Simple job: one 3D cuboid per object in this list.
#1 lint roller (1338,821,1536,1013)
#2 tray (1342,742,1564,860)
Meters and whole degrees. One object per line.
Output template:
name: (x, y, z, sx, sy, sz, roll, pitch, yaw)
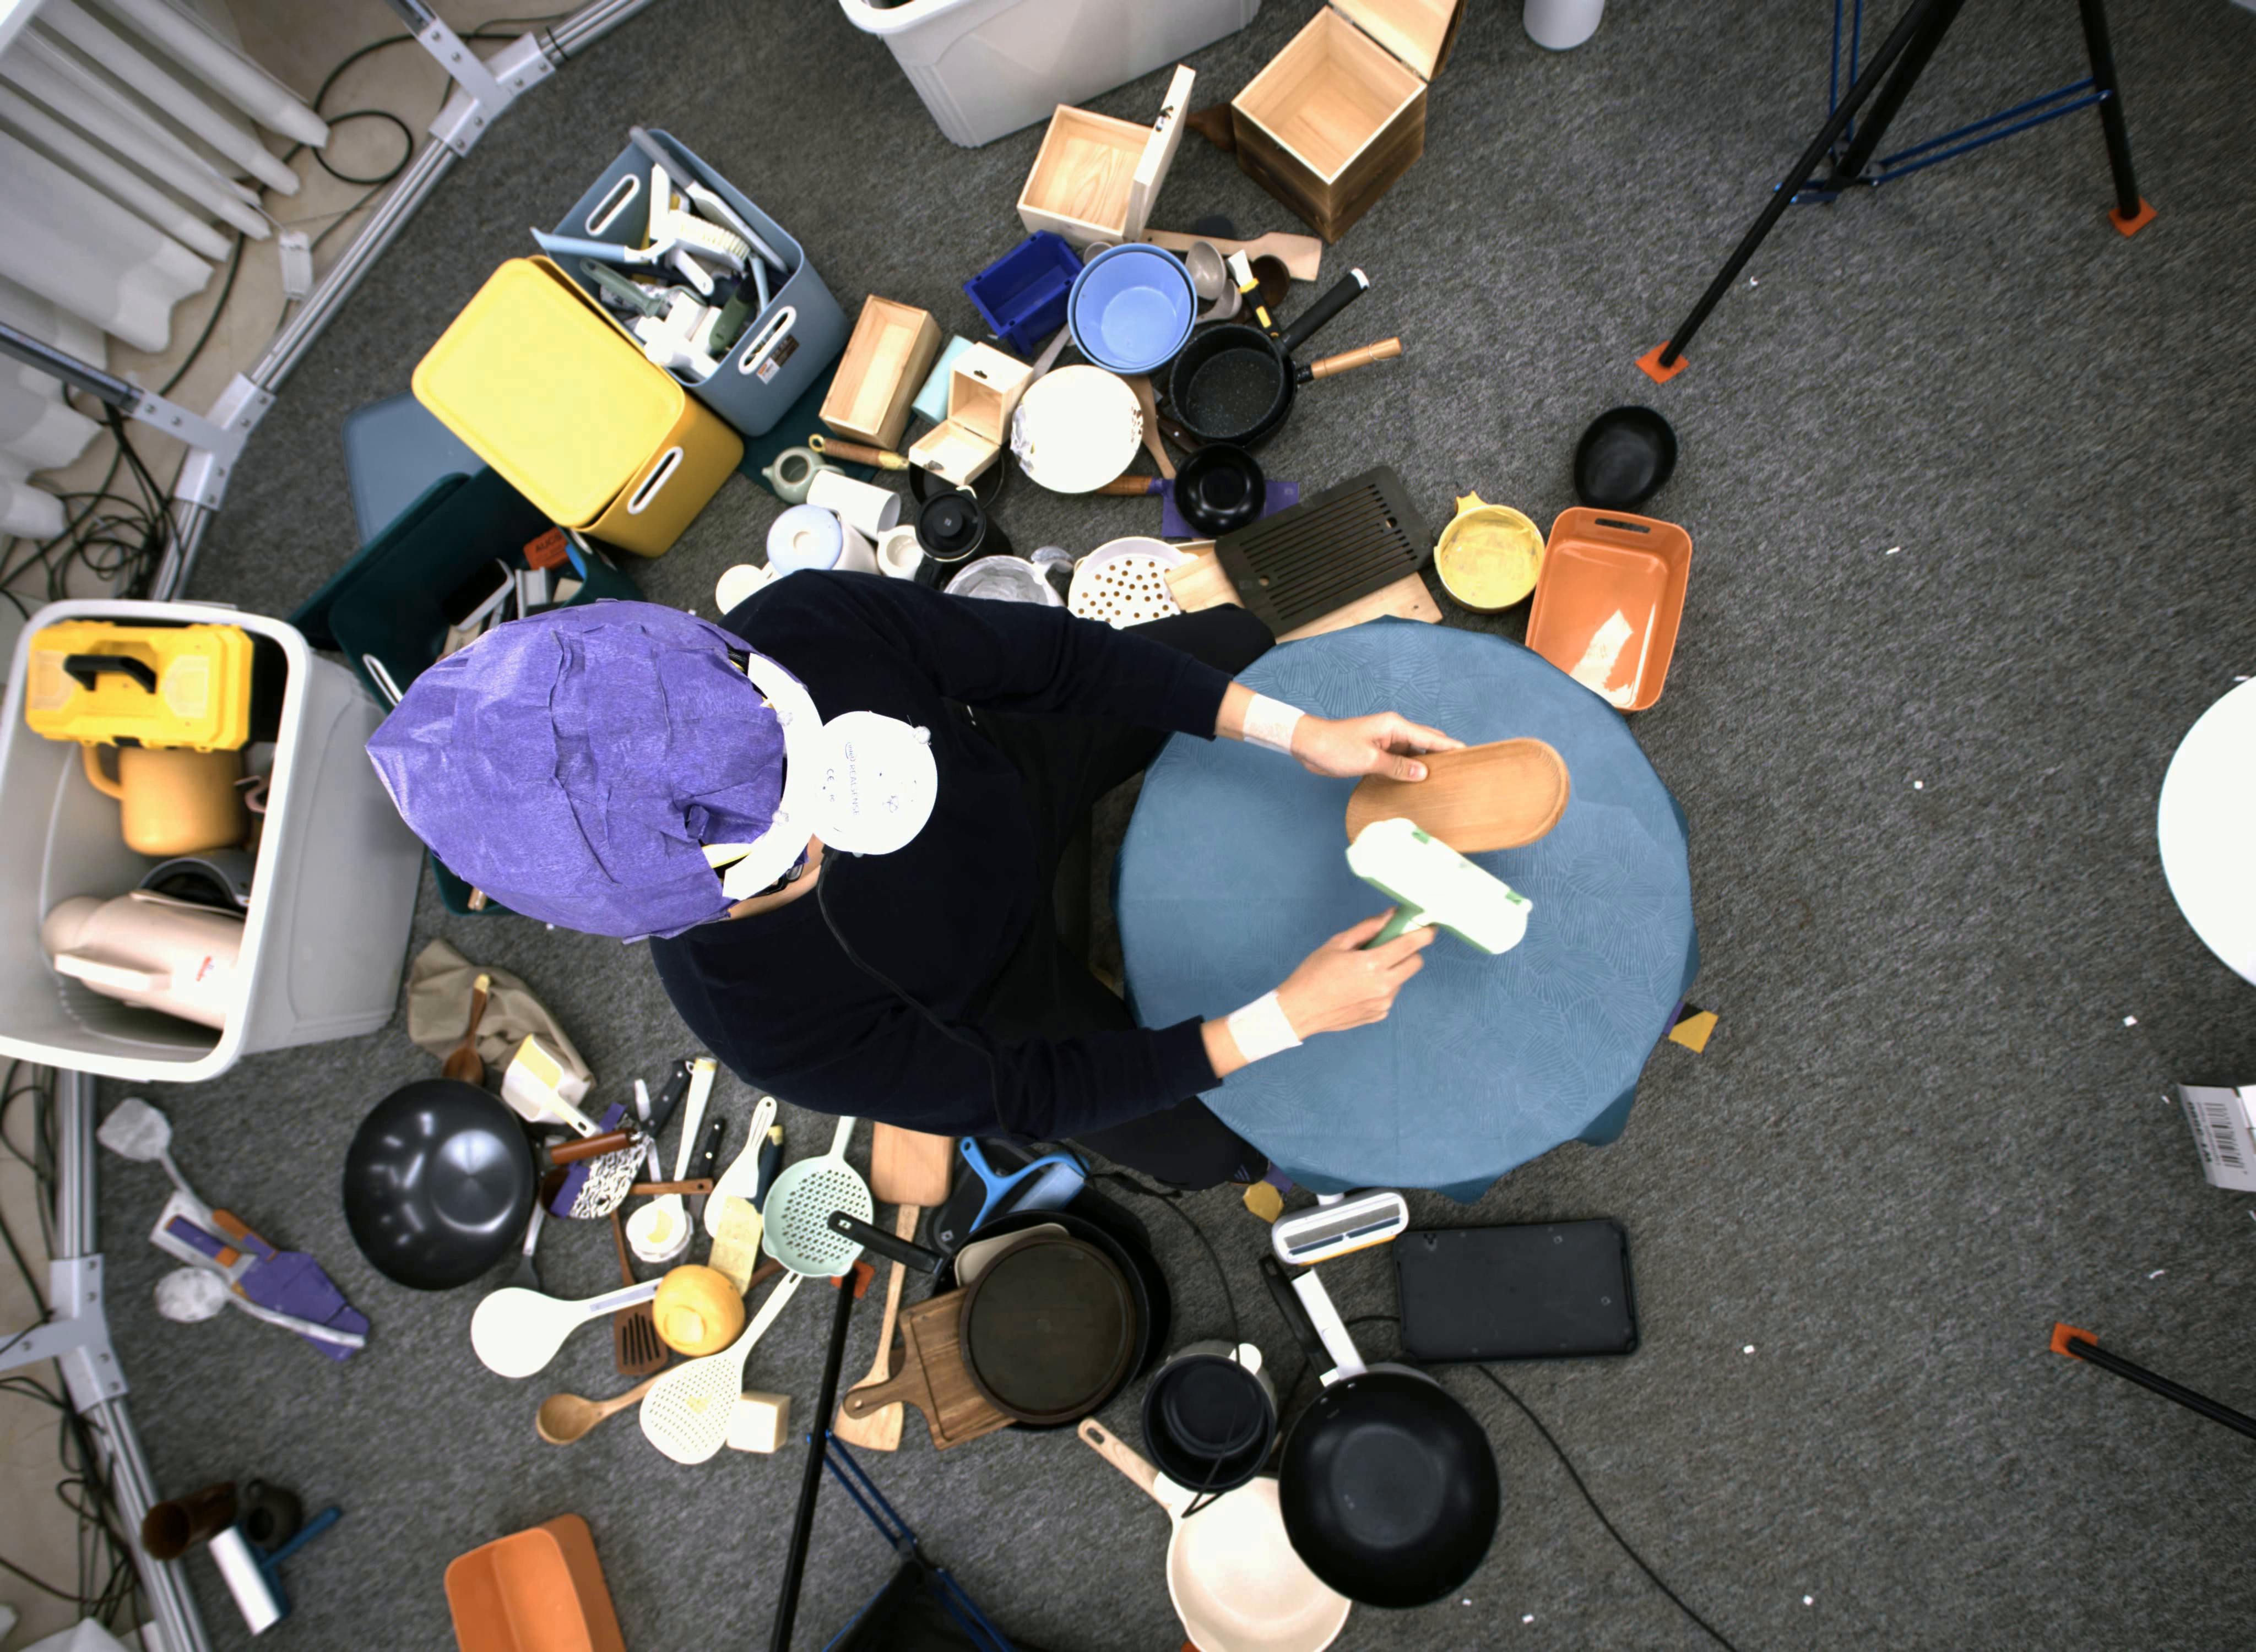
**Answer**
lint roller: (0.261, 0.107, 1.250, 0.199, 0.081, 0.185, 27, 101, -31)
tray: (0.292, -0.019, 1.255, 0.234, 0.020, 0.100, -10, 66, 46)
